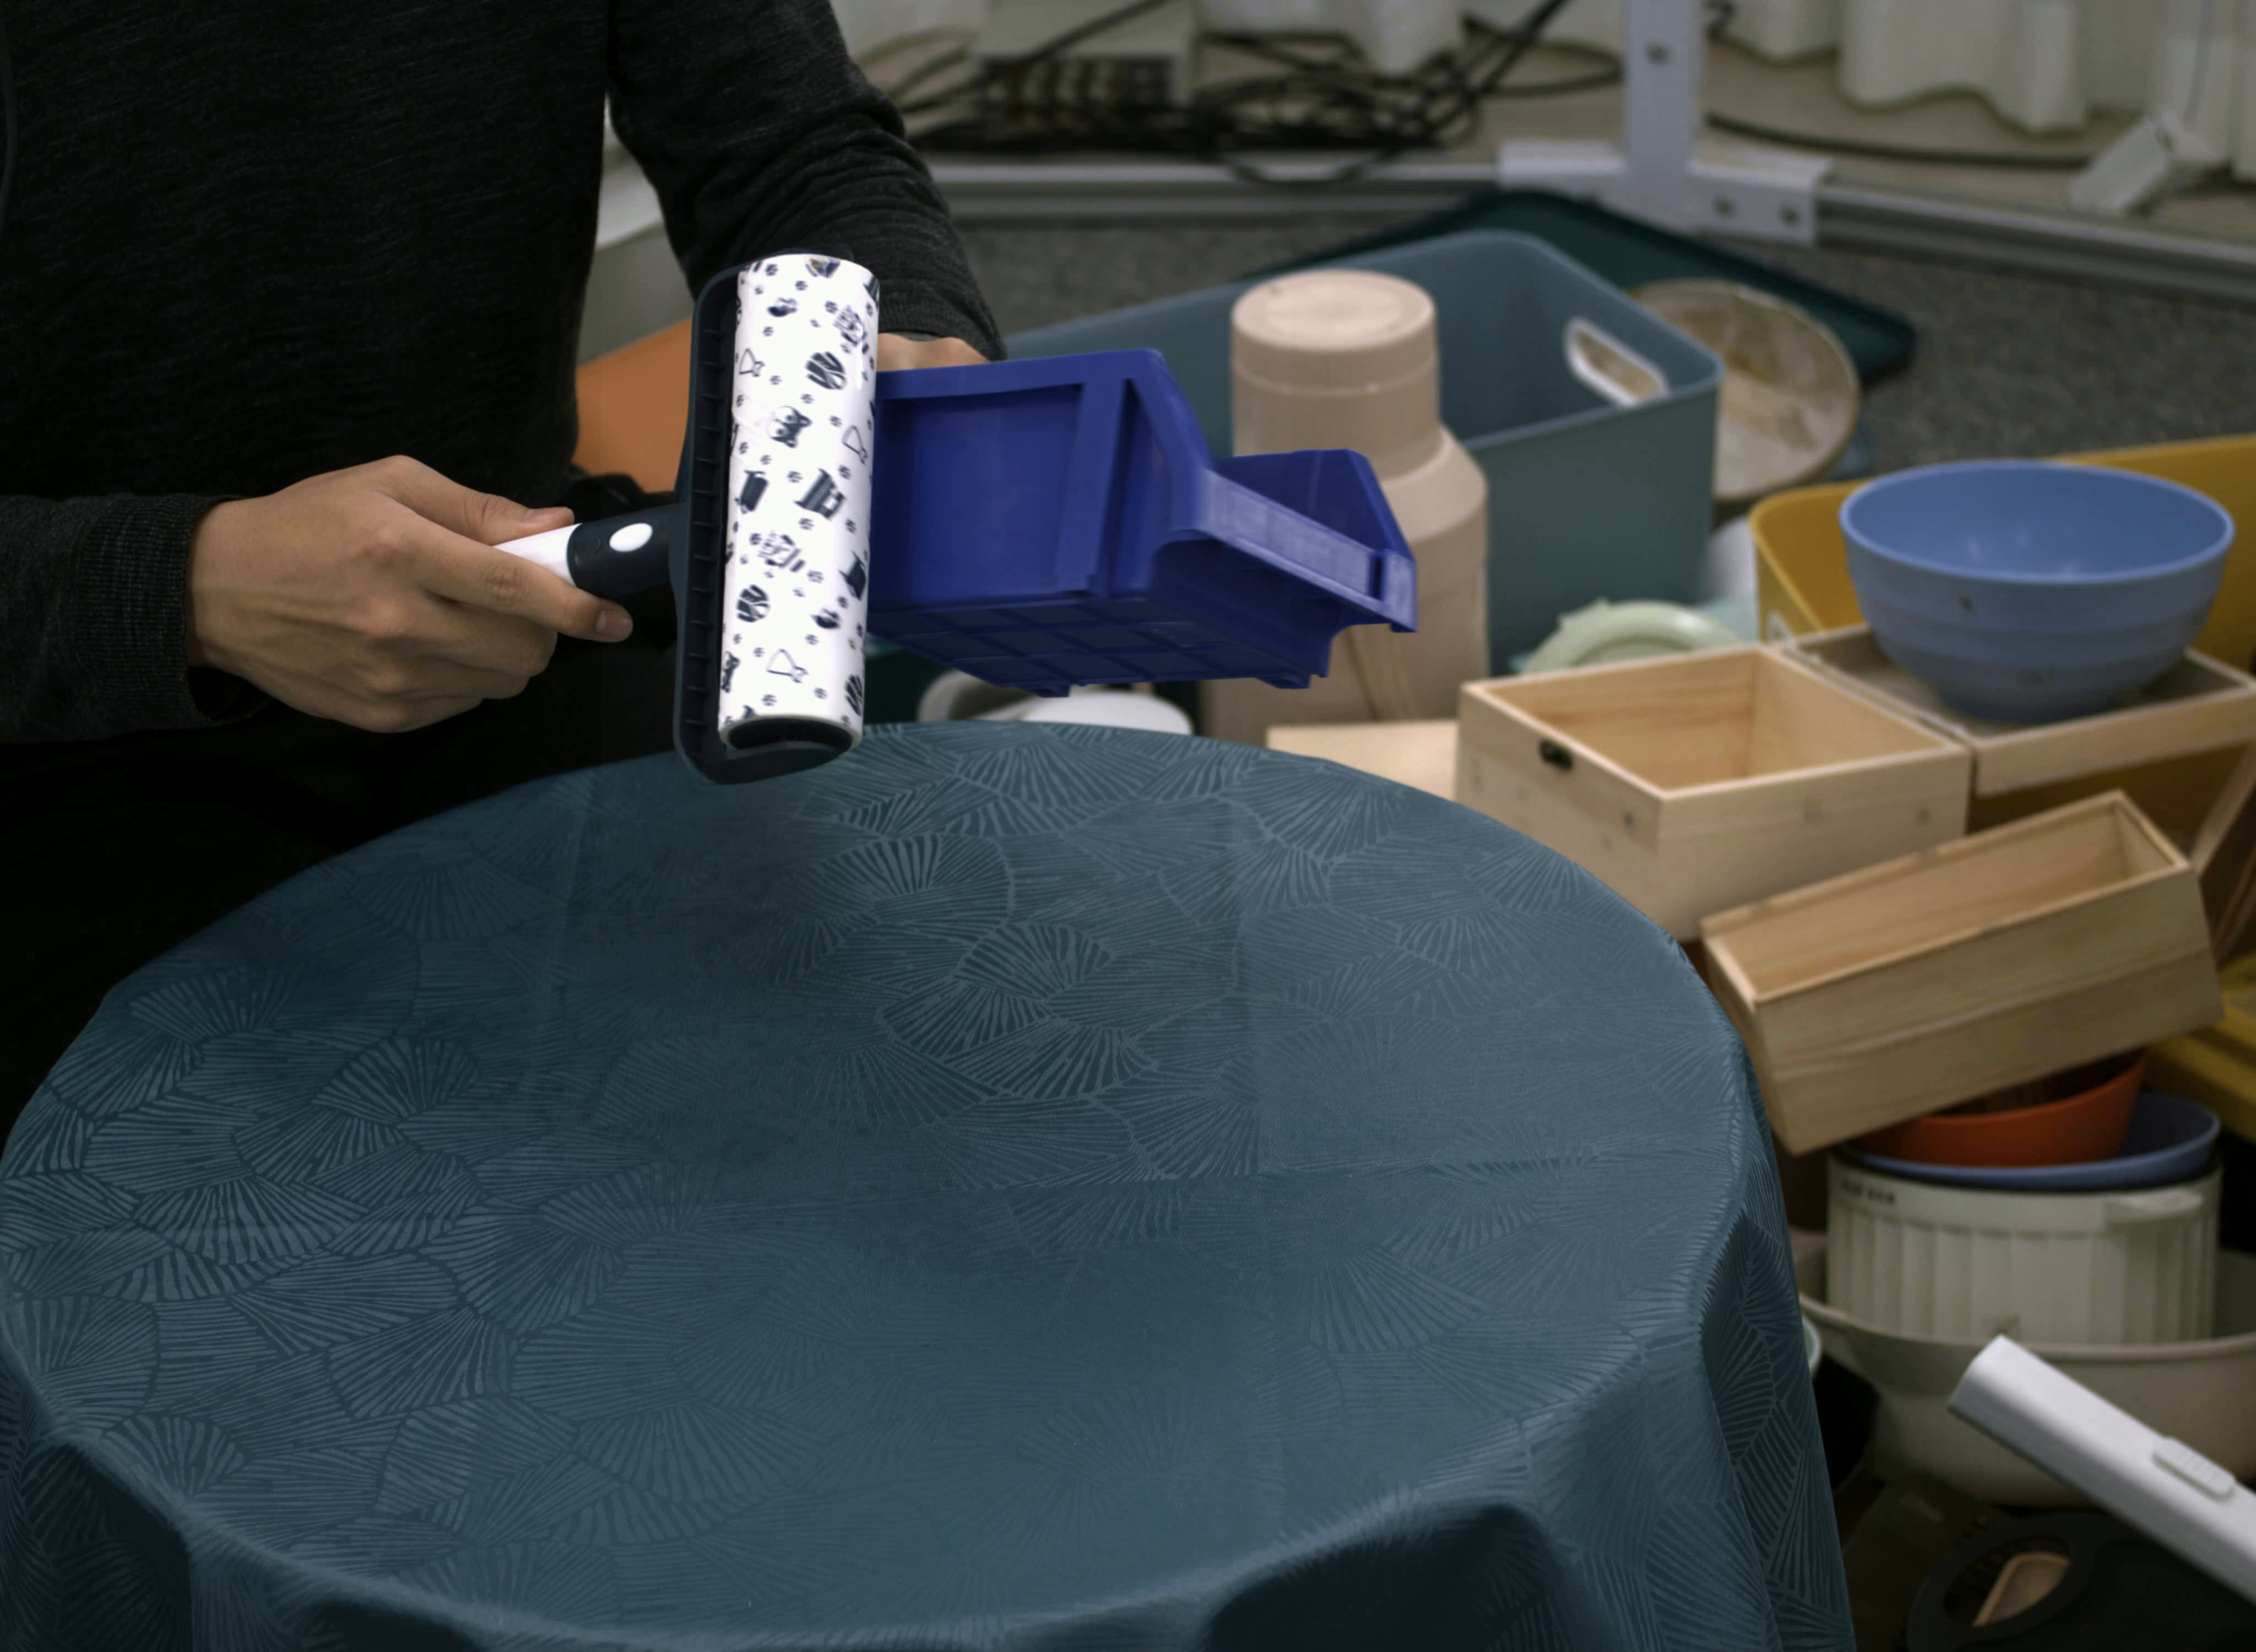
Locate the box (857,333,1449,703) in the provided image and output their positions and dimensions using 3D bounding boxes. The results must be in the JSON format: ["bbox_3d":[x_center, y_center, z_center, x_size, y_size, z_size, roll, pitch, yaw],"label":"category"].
[{"bbox_3d":[0.003,-0.099,1.858,0.177,0.083,0.124,-5,-19,39],"label":"box"}]

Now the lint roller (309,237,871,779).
[{"bbox_3d":[-0.188,-0.087,1.890,0.244,0.179,0.050,-13,-23,34],"label":"lint roller"}]
